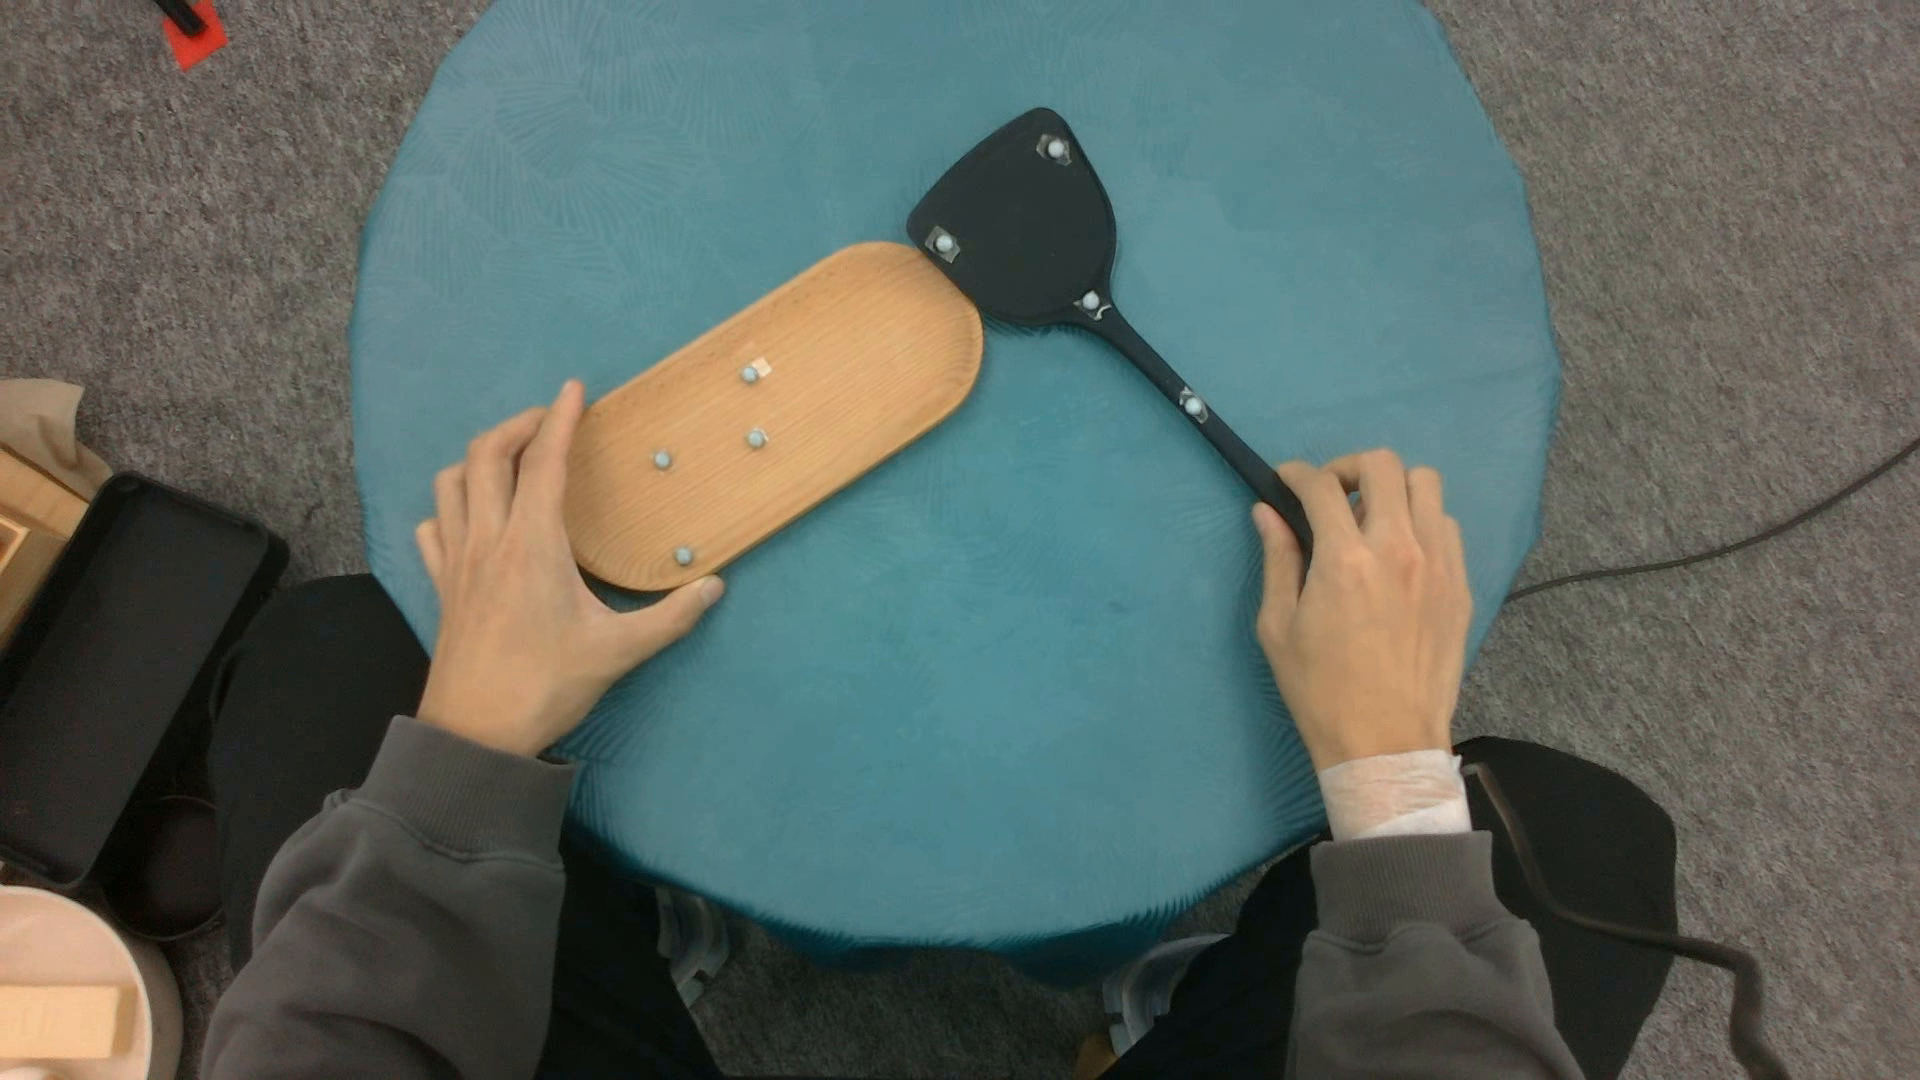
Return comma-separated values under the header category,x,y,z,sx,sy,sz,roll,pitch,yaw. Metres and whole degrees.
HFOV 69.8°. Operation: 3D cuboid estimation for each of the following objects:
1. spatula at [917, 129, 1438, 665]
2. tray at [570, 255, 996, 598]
category,x,y,z,sx,sy,sz,roll,pitch,yaw
spatula,0.117,-0.062,0.675,0.100,0.040,0.326,-42,79,-6
tray,-0.086,-0.057,0.687,0.231,0.020,0.102,-34,81,-8
